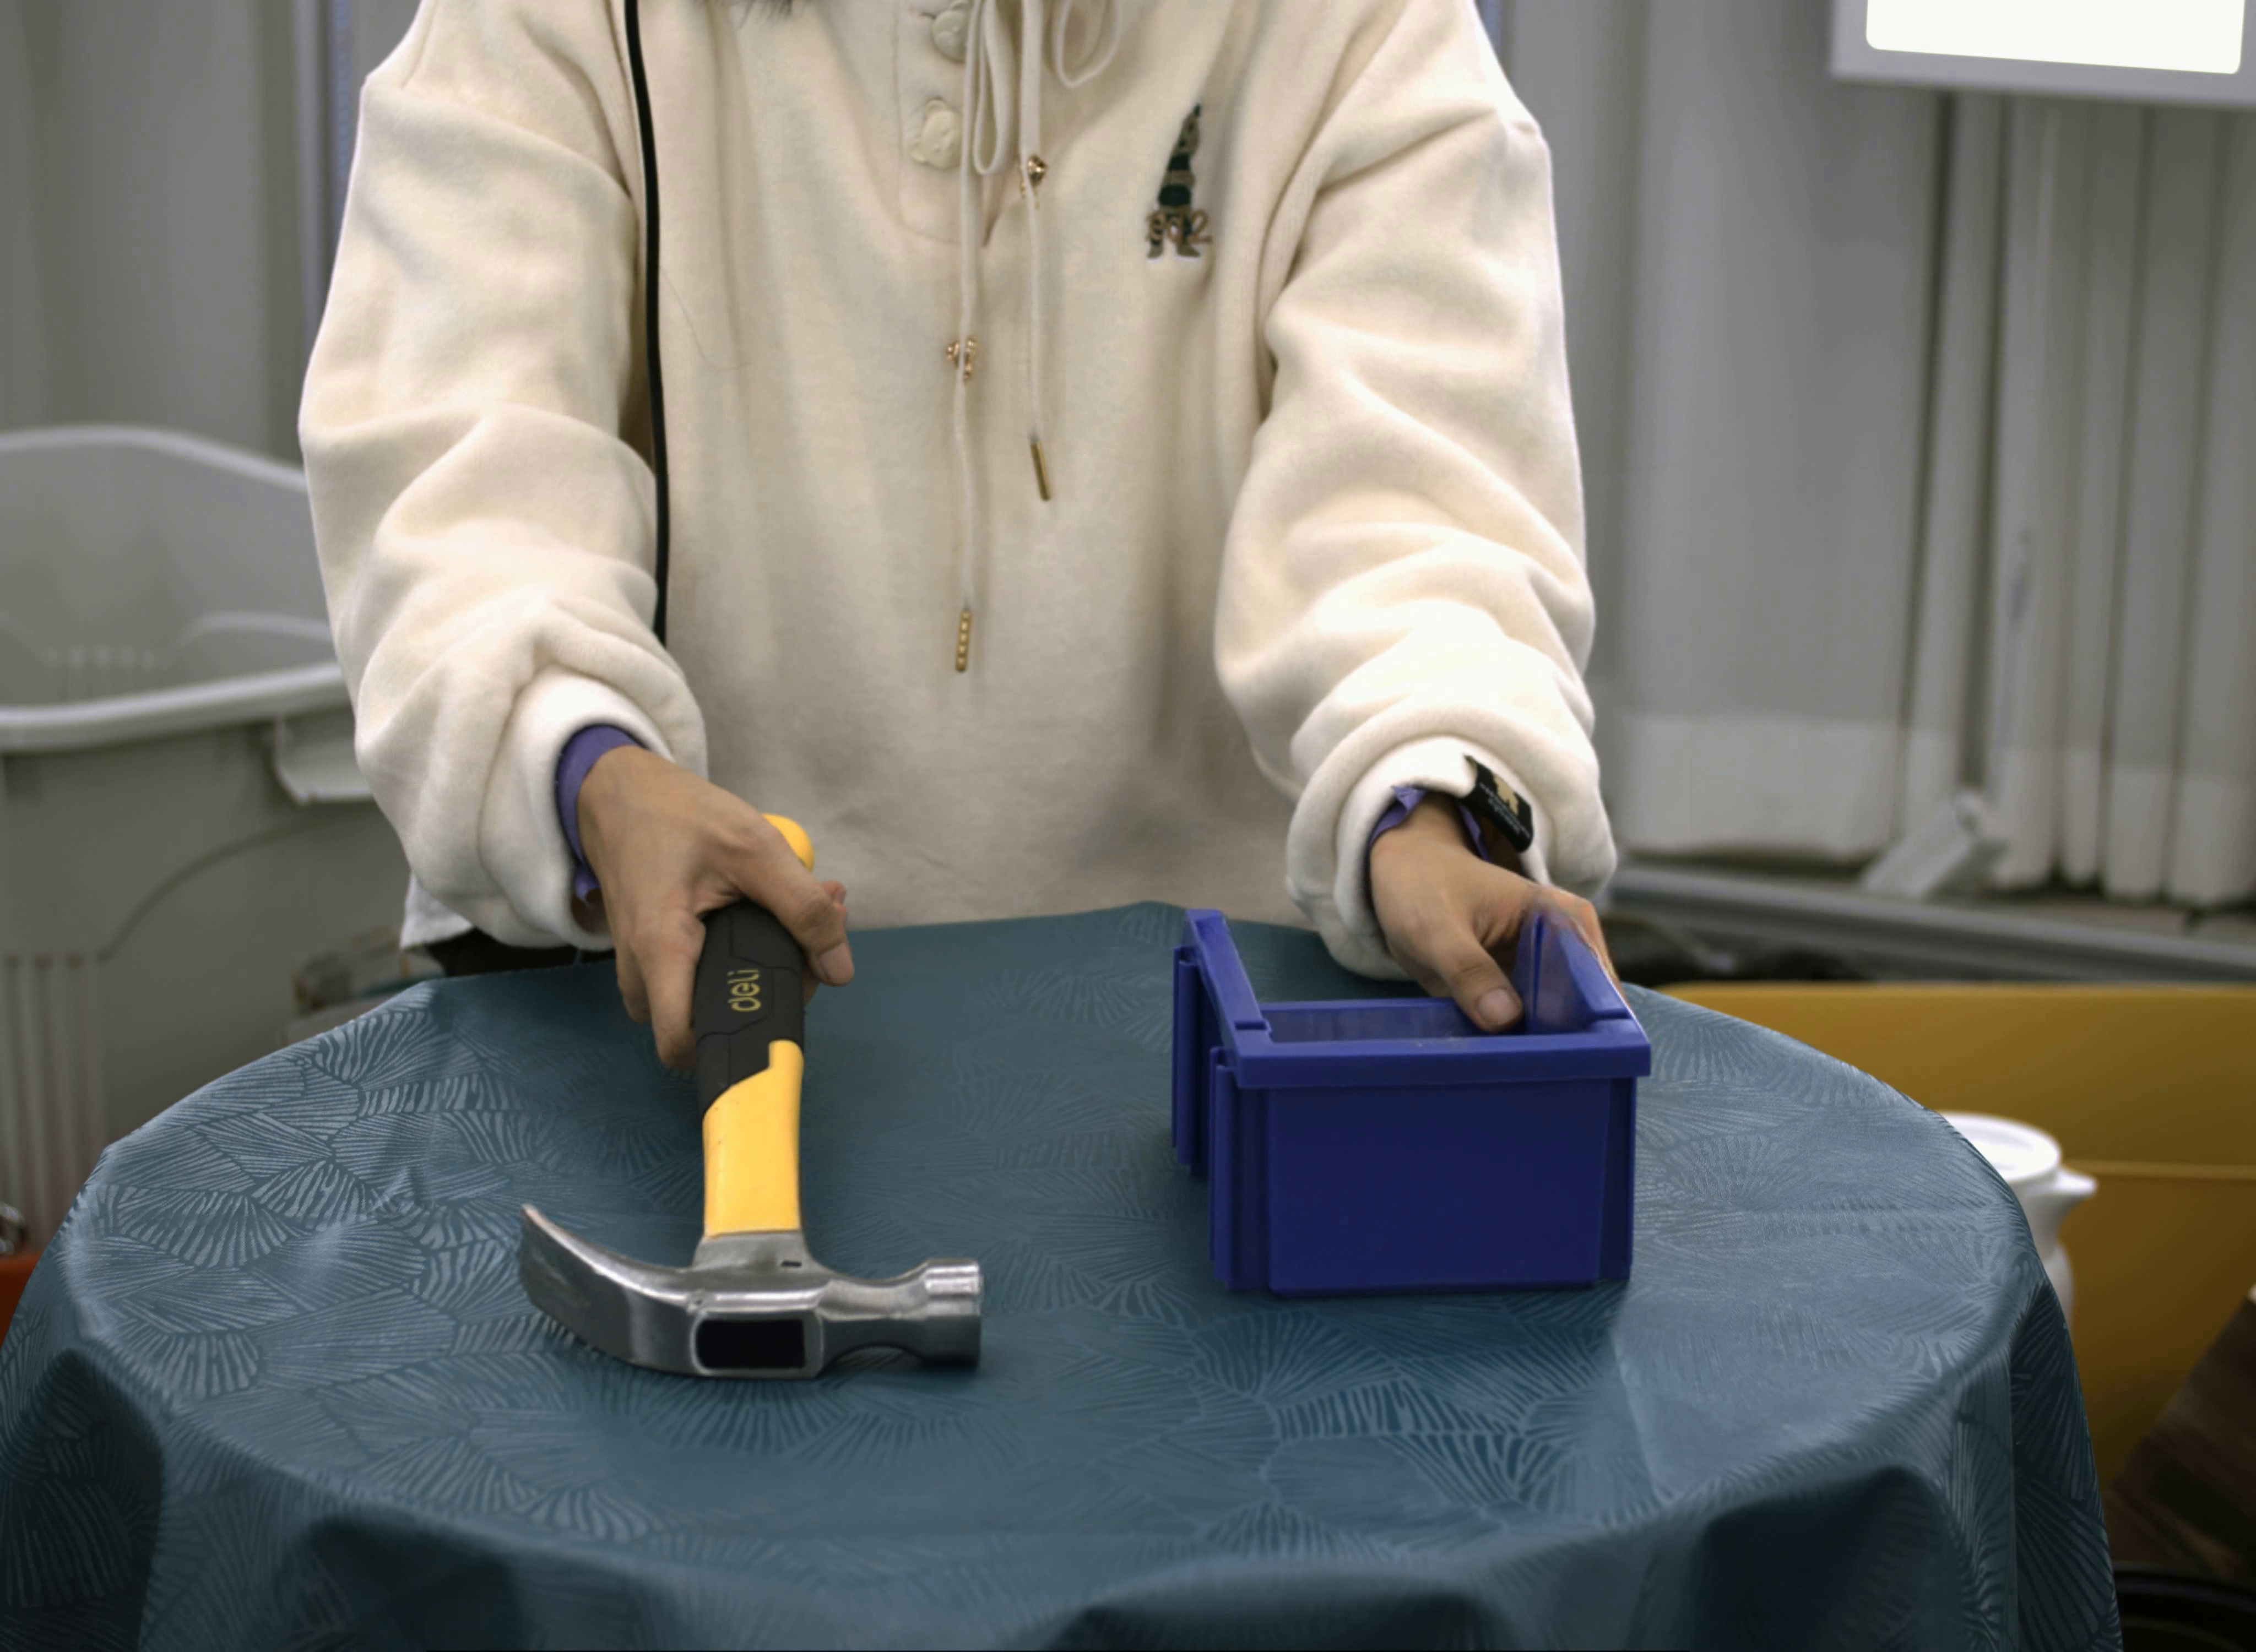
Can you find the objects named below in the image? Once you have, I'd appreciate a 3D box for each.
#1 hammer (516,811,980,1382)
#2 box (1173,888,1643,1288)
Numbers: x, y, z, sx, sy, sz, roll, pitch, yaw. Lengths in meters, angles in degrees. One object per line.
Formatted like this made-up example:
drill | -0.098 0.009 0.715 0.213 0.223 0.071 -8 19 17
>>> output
hammer | -0.115 0.074 1.609 0.131 0.032 0.335 -2 25 -2
box | 0.080 0.075 1.606 0.124 0.082 0.178 -1 18 -5
